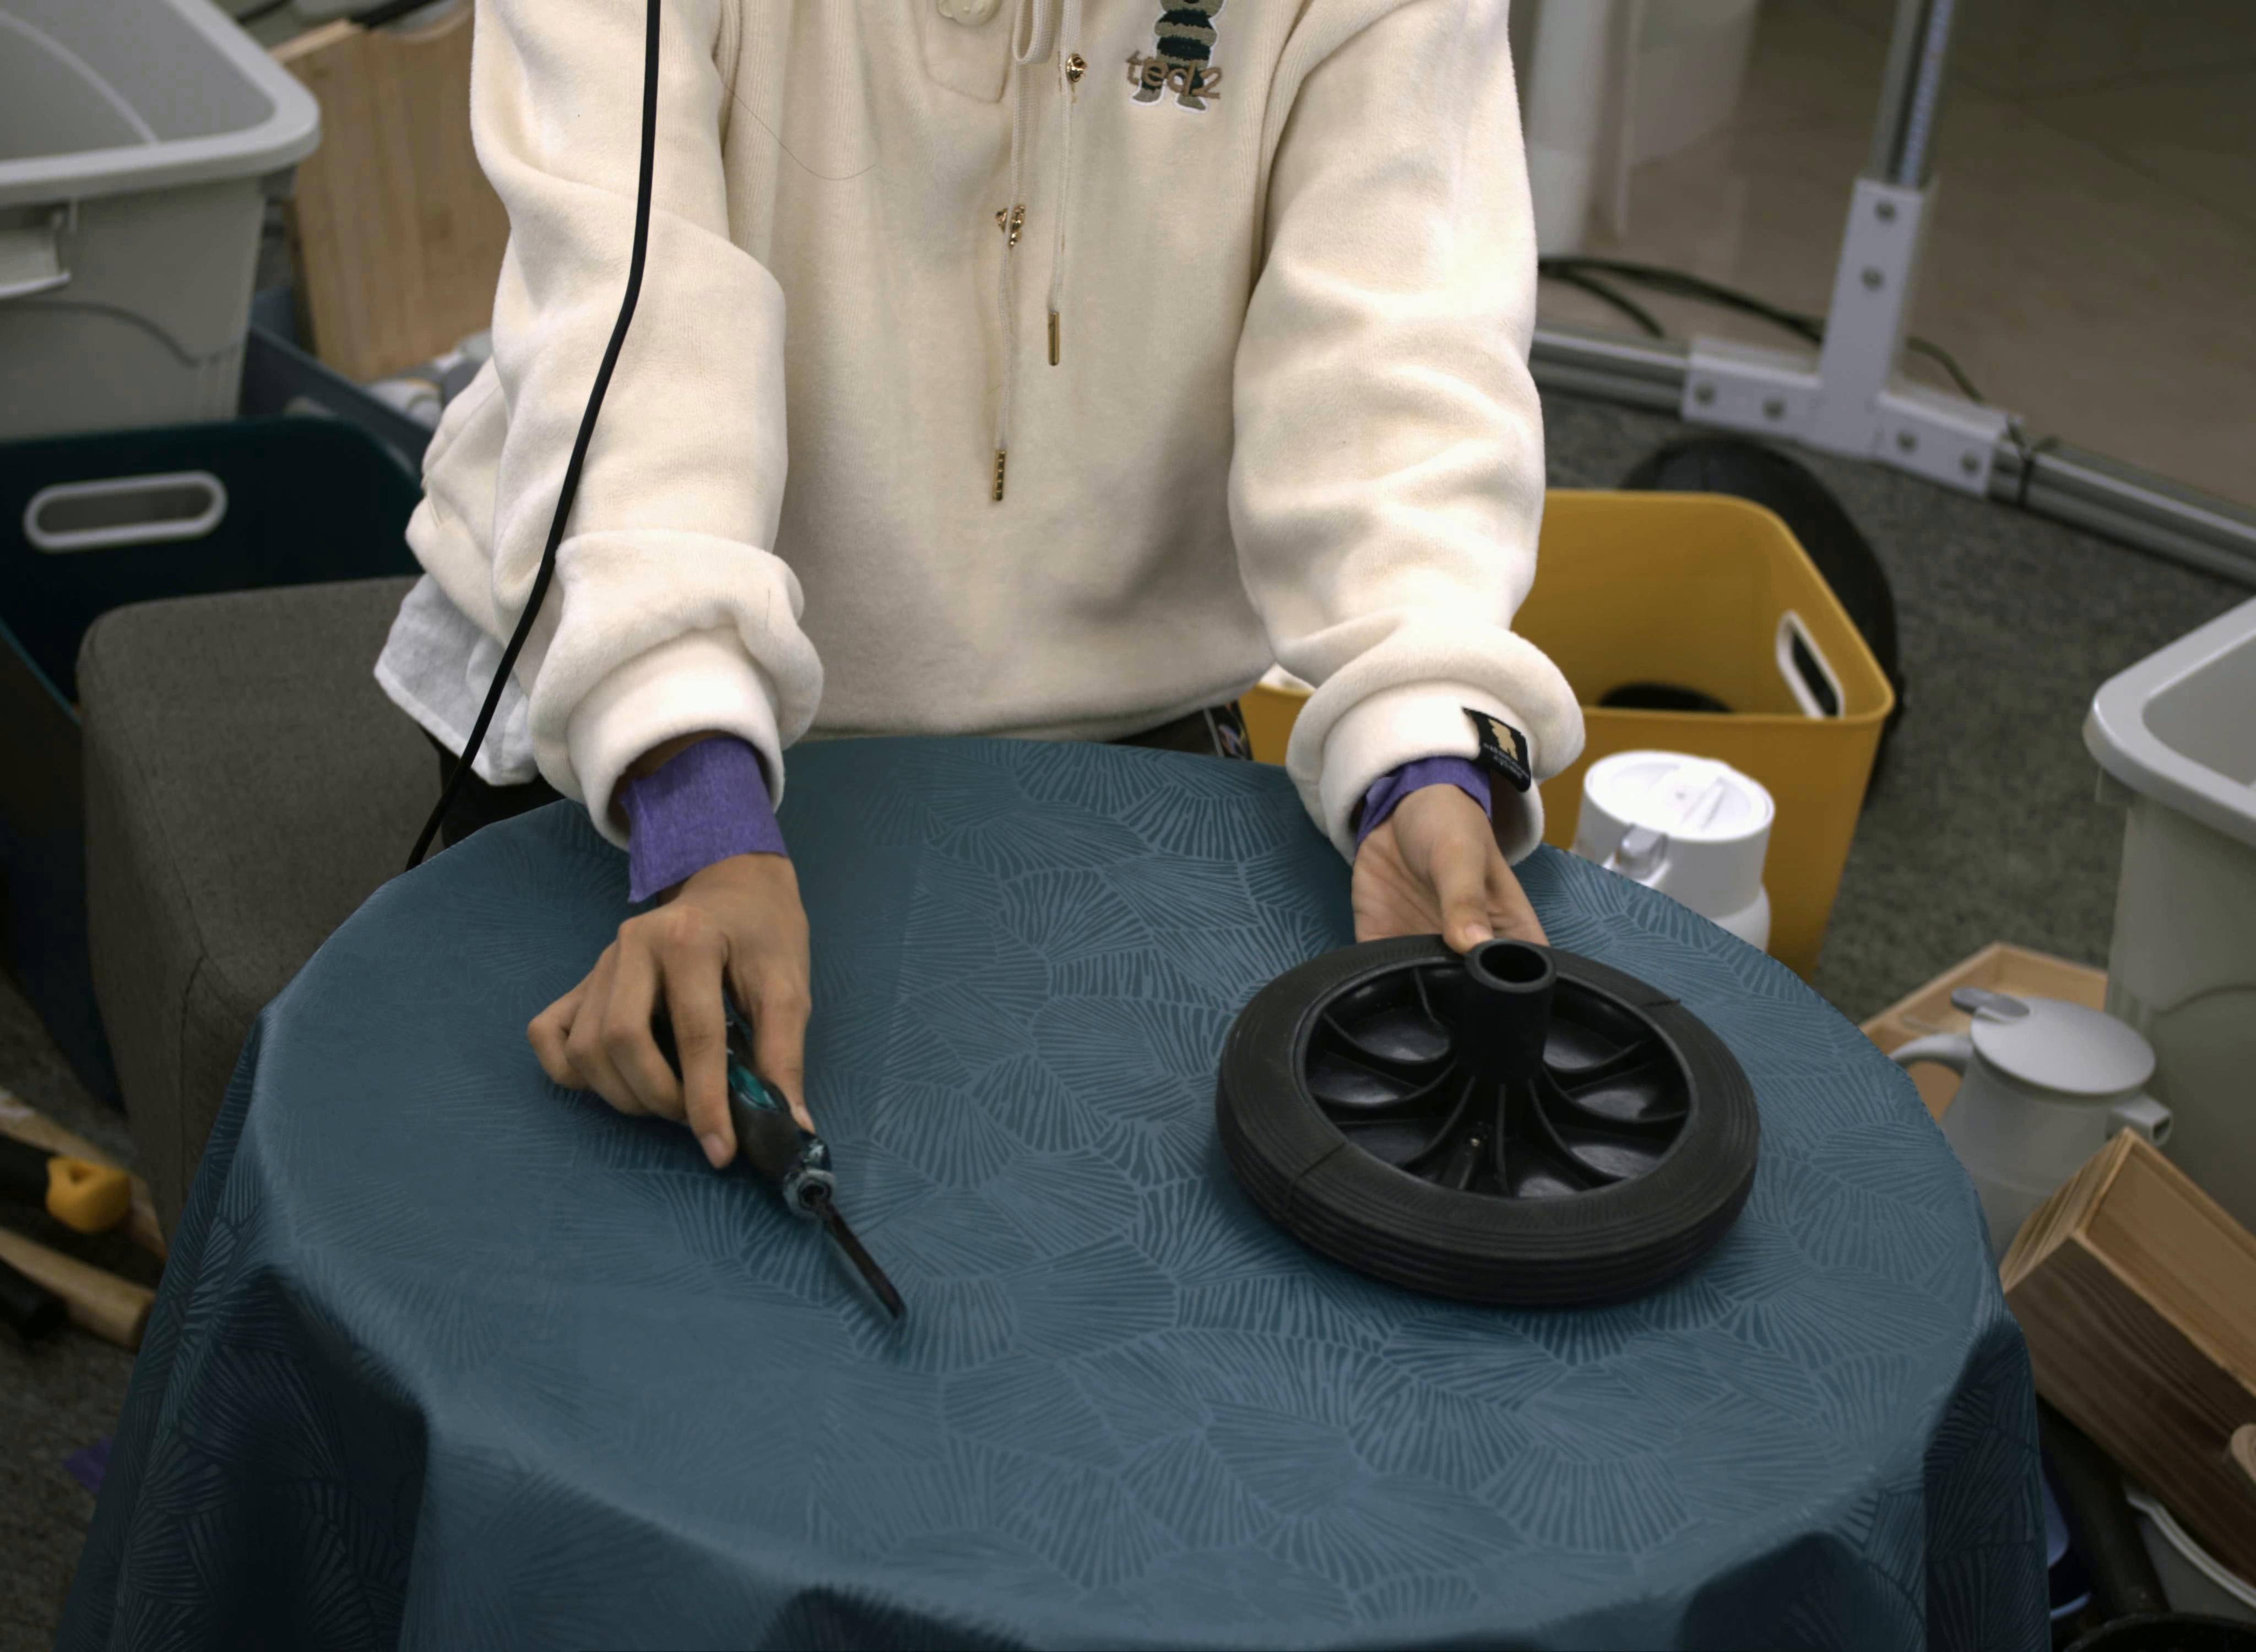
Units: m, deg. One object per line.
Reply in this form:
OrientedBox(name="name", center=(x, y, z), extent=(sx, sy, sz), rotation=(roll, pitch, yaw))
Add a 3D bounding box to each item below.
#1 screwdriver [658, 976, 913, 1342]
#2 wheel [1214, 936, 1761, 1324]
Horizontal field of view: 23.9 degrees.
OrientedBox(name="screwdriver", center=(-0.112, 0.112, 1.769), extent=(0.033, 0.033, 0.192), rotation=(-7, 36, -26))
OrientedBox(name="wheel", center=(0.125, 0.084, 1.815), extent=(0.186, 0.079, 0.191), rotation=(1, 36, -7))
